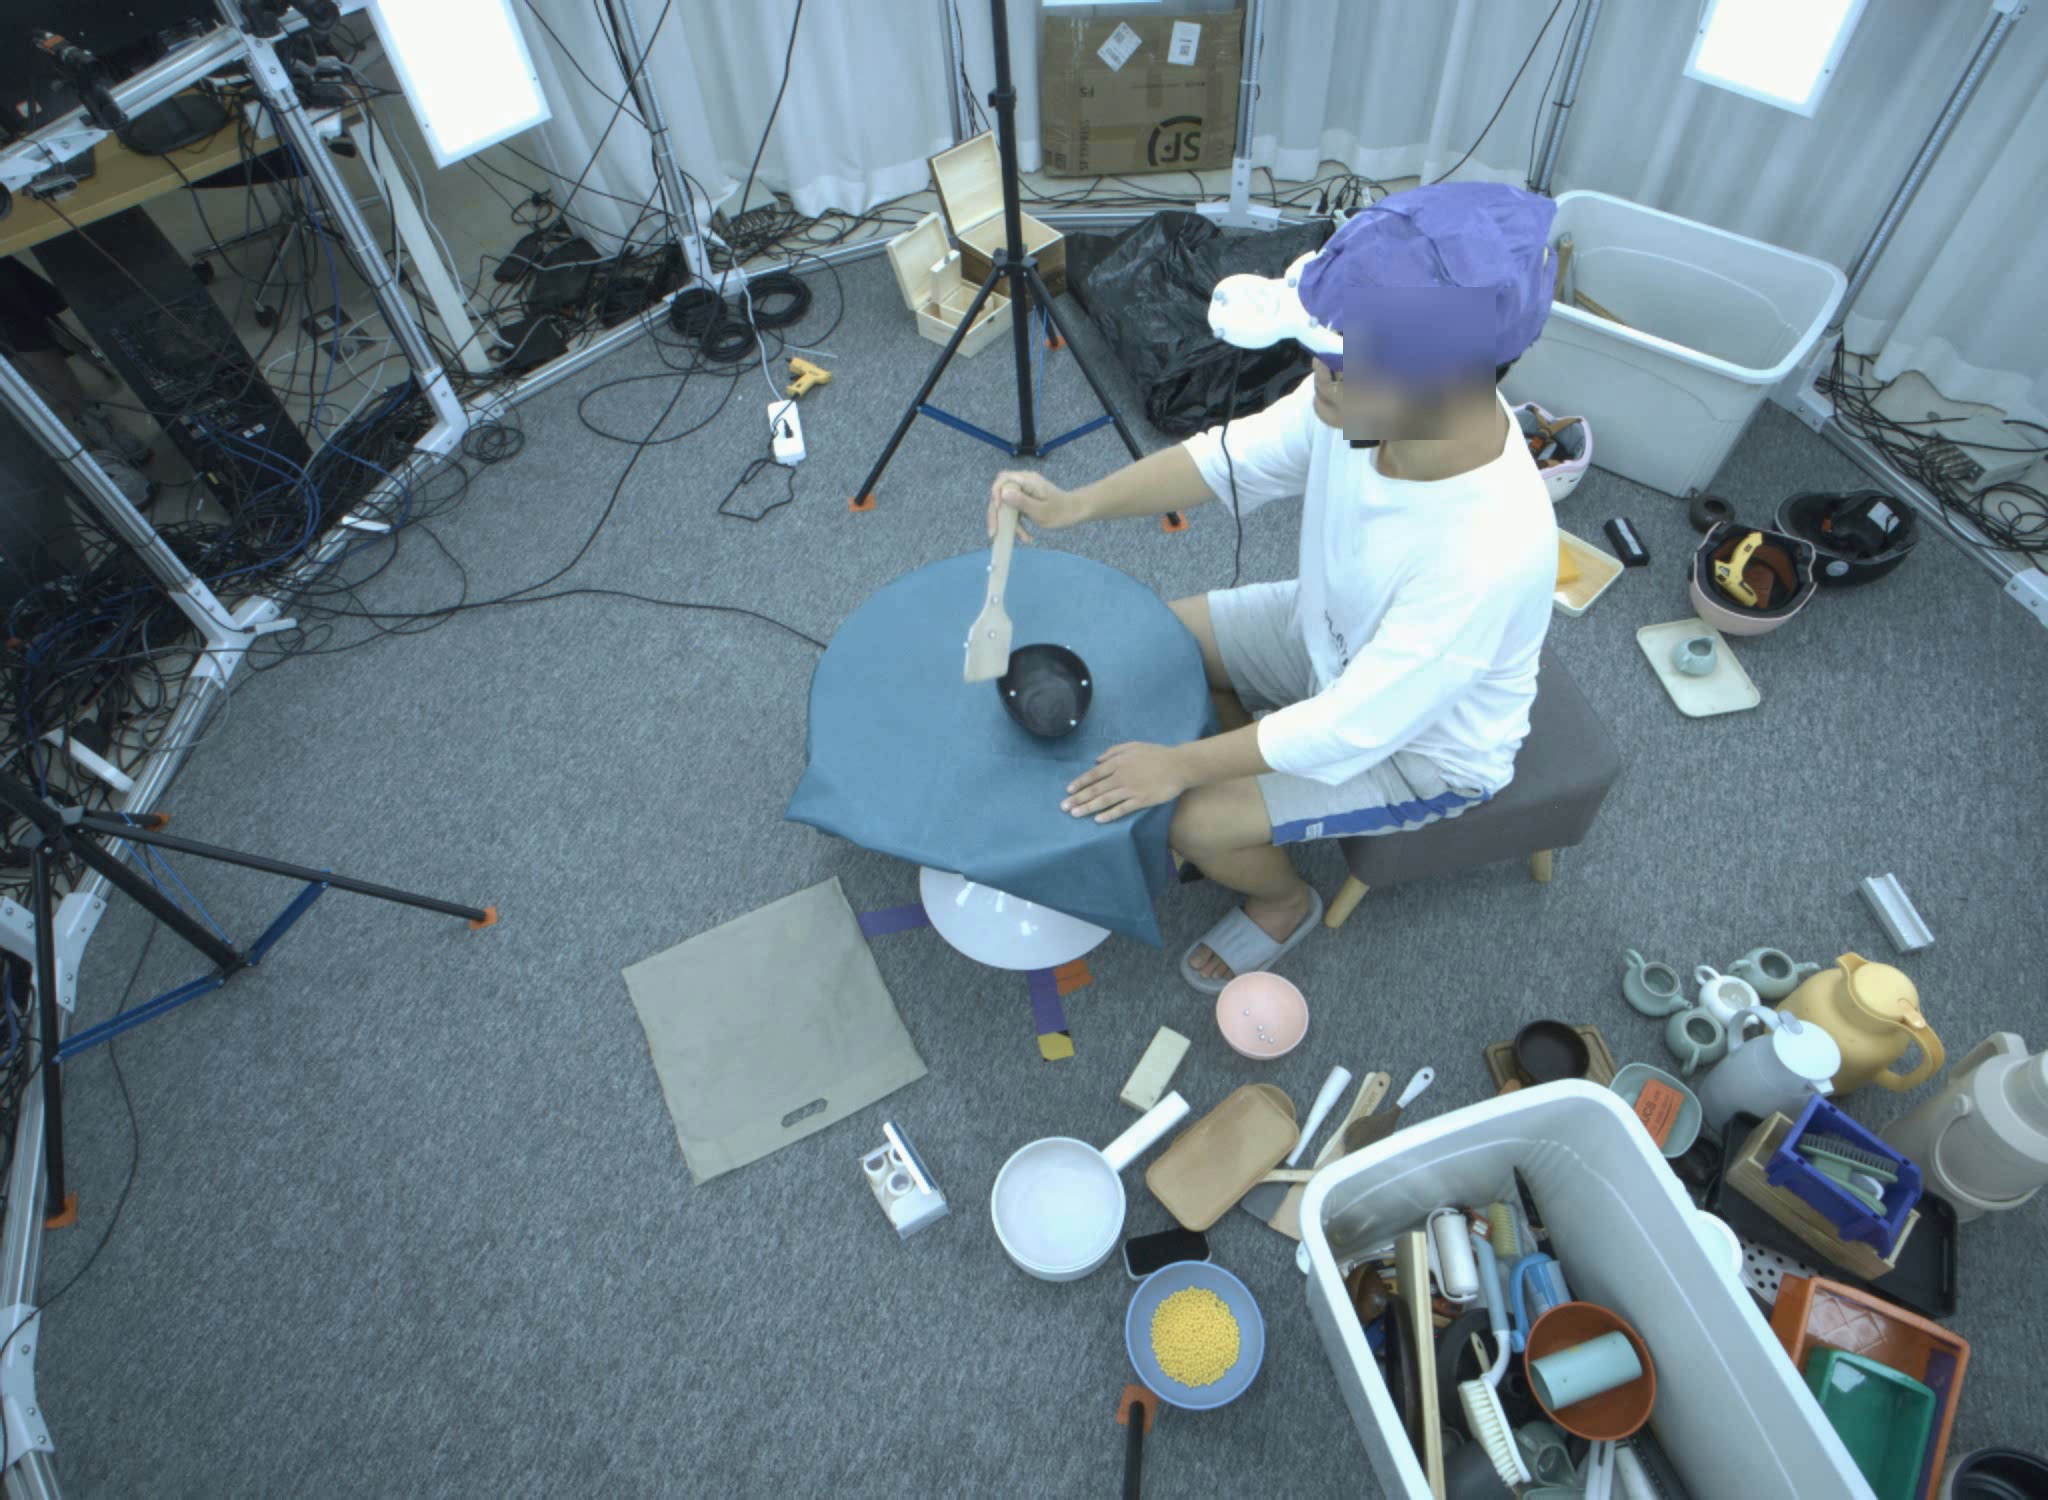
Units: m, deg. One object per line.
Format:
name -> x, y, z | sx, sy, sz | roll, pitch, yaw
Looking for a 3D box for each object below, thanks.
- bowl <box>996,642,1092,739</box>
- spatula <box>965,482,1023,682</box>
bowl -> 0.031, -0.079, 1.801 | 0.138, 0.067, 0.167 | -16, 57, -10
spatula -> -0.035, -0.223, 1.647 | 0.073, 0.295, 0.010 | -15, 40, -32
